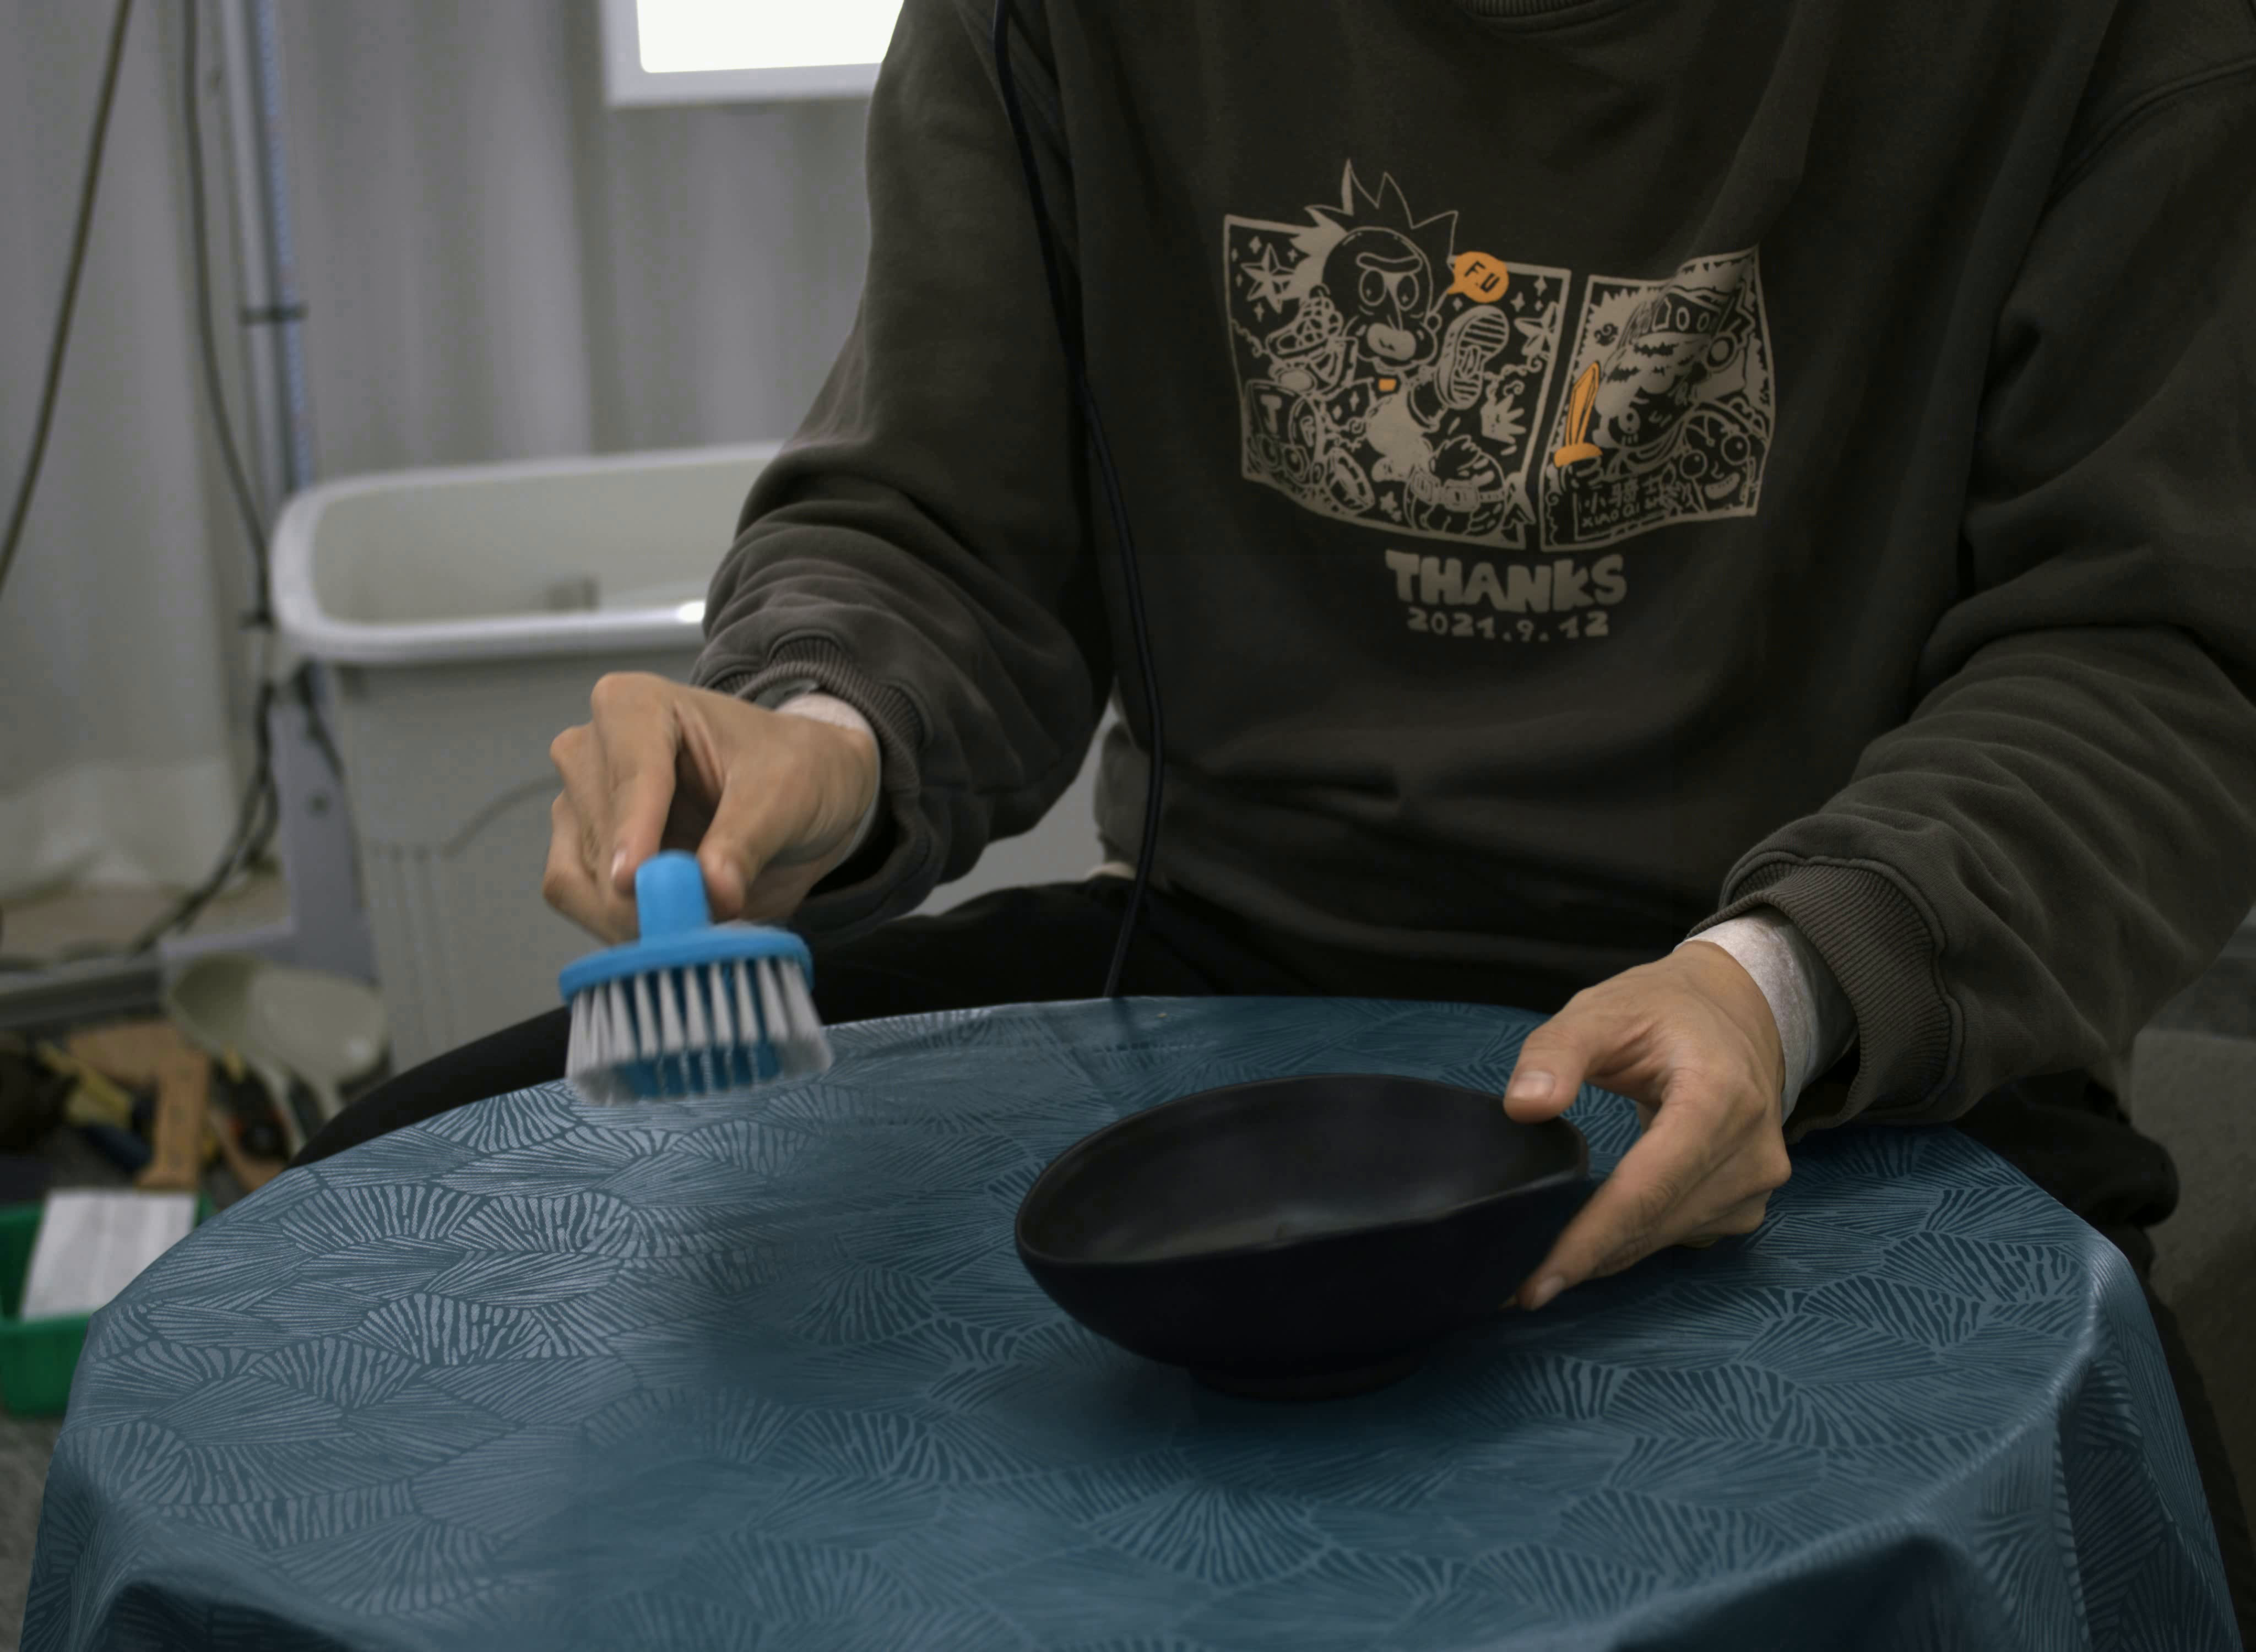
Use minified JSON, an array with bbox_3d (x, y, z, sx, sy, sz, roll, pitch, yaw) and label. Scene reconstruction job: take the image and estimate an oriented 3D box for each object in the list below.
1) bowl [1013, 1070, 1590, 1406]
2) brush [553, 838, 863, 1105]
[{"bbox_3d":[0.052,0.124,1.559,0.169,0.066,0.138,-11,16,-22],"label":"bowl"},{"bbox_3d":[-0.127,0.040,1.630,0.084,0.064,0.141,-14,-11,-1],"label":"brush"}]
